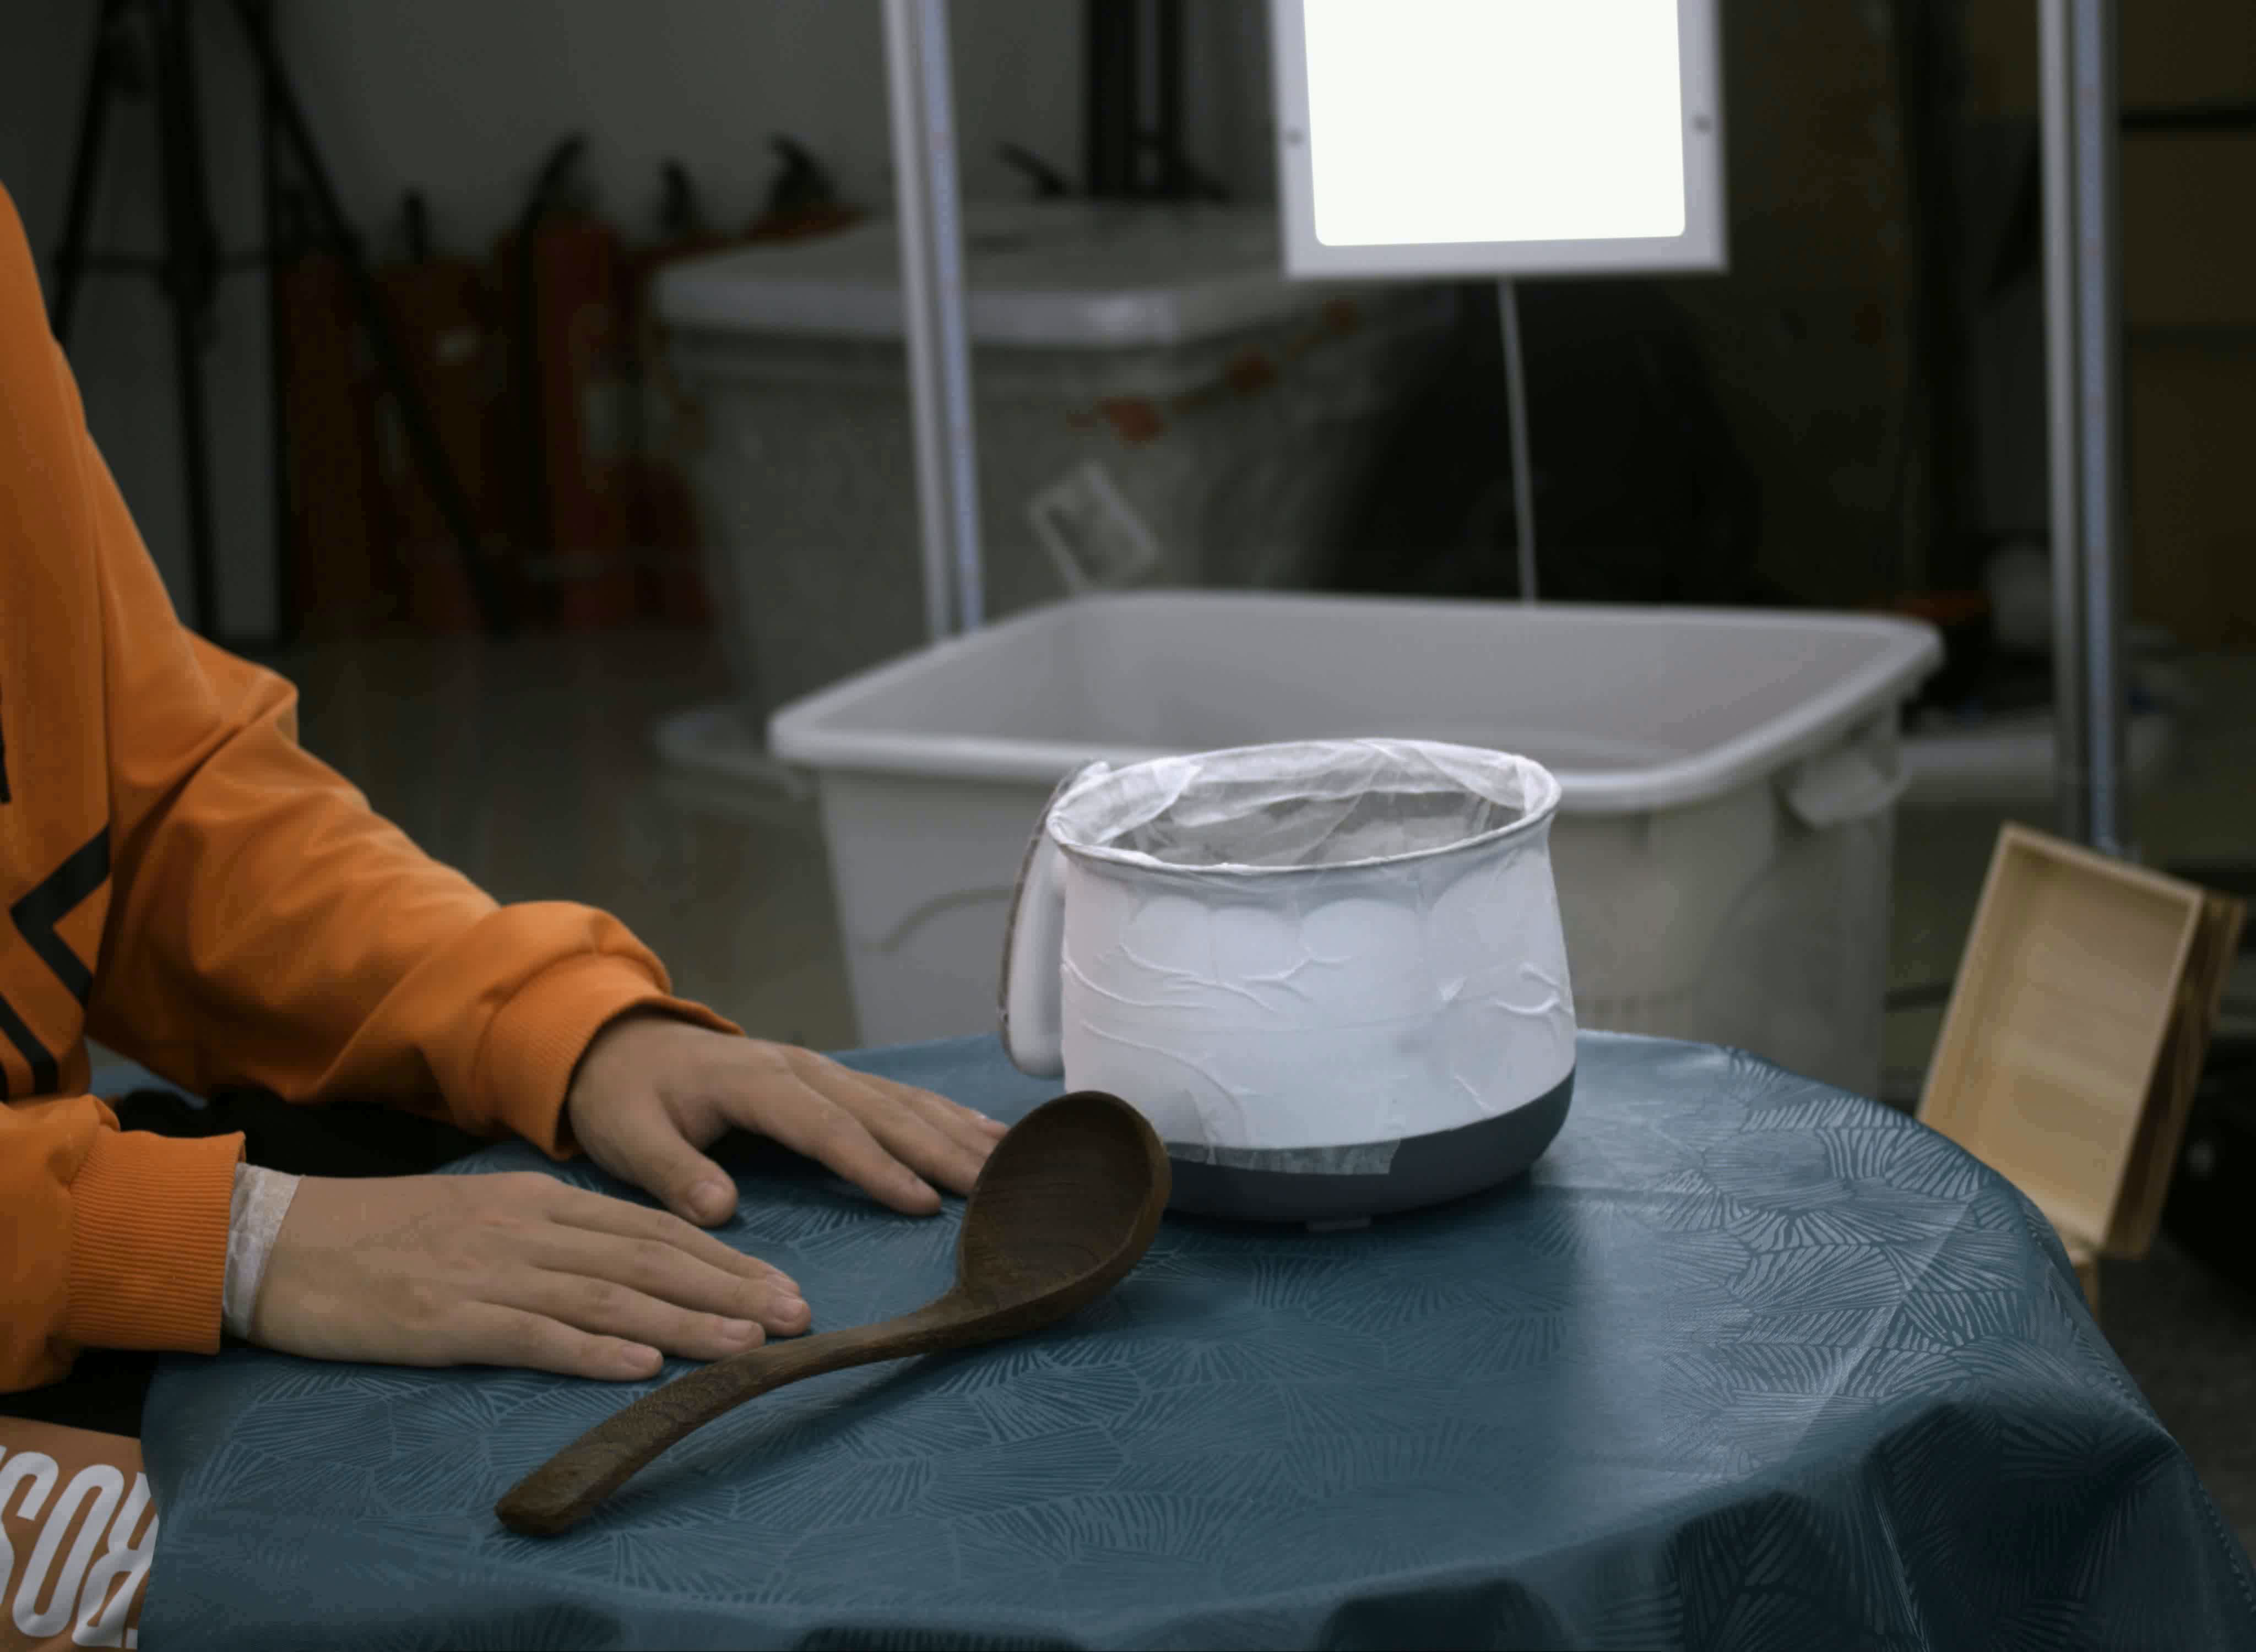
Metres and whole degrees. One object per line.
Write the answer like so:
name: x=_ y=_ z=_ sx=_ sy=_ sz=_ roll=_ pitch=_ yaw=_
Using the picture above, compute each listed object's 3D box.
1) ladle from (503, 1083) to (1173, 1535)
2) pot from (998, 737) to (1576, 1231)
ladle: x=-0.090 y=0.145 z=1.709 sx=0.078 sy=0.071 sz=0.267 roll=5 pitch=16 yaw=44
pot: x=0.044 y=0.049 z=1.906 sx=0.239 sy=0.137 sz=0.174 roll=8 pitch=19 yaw=42
